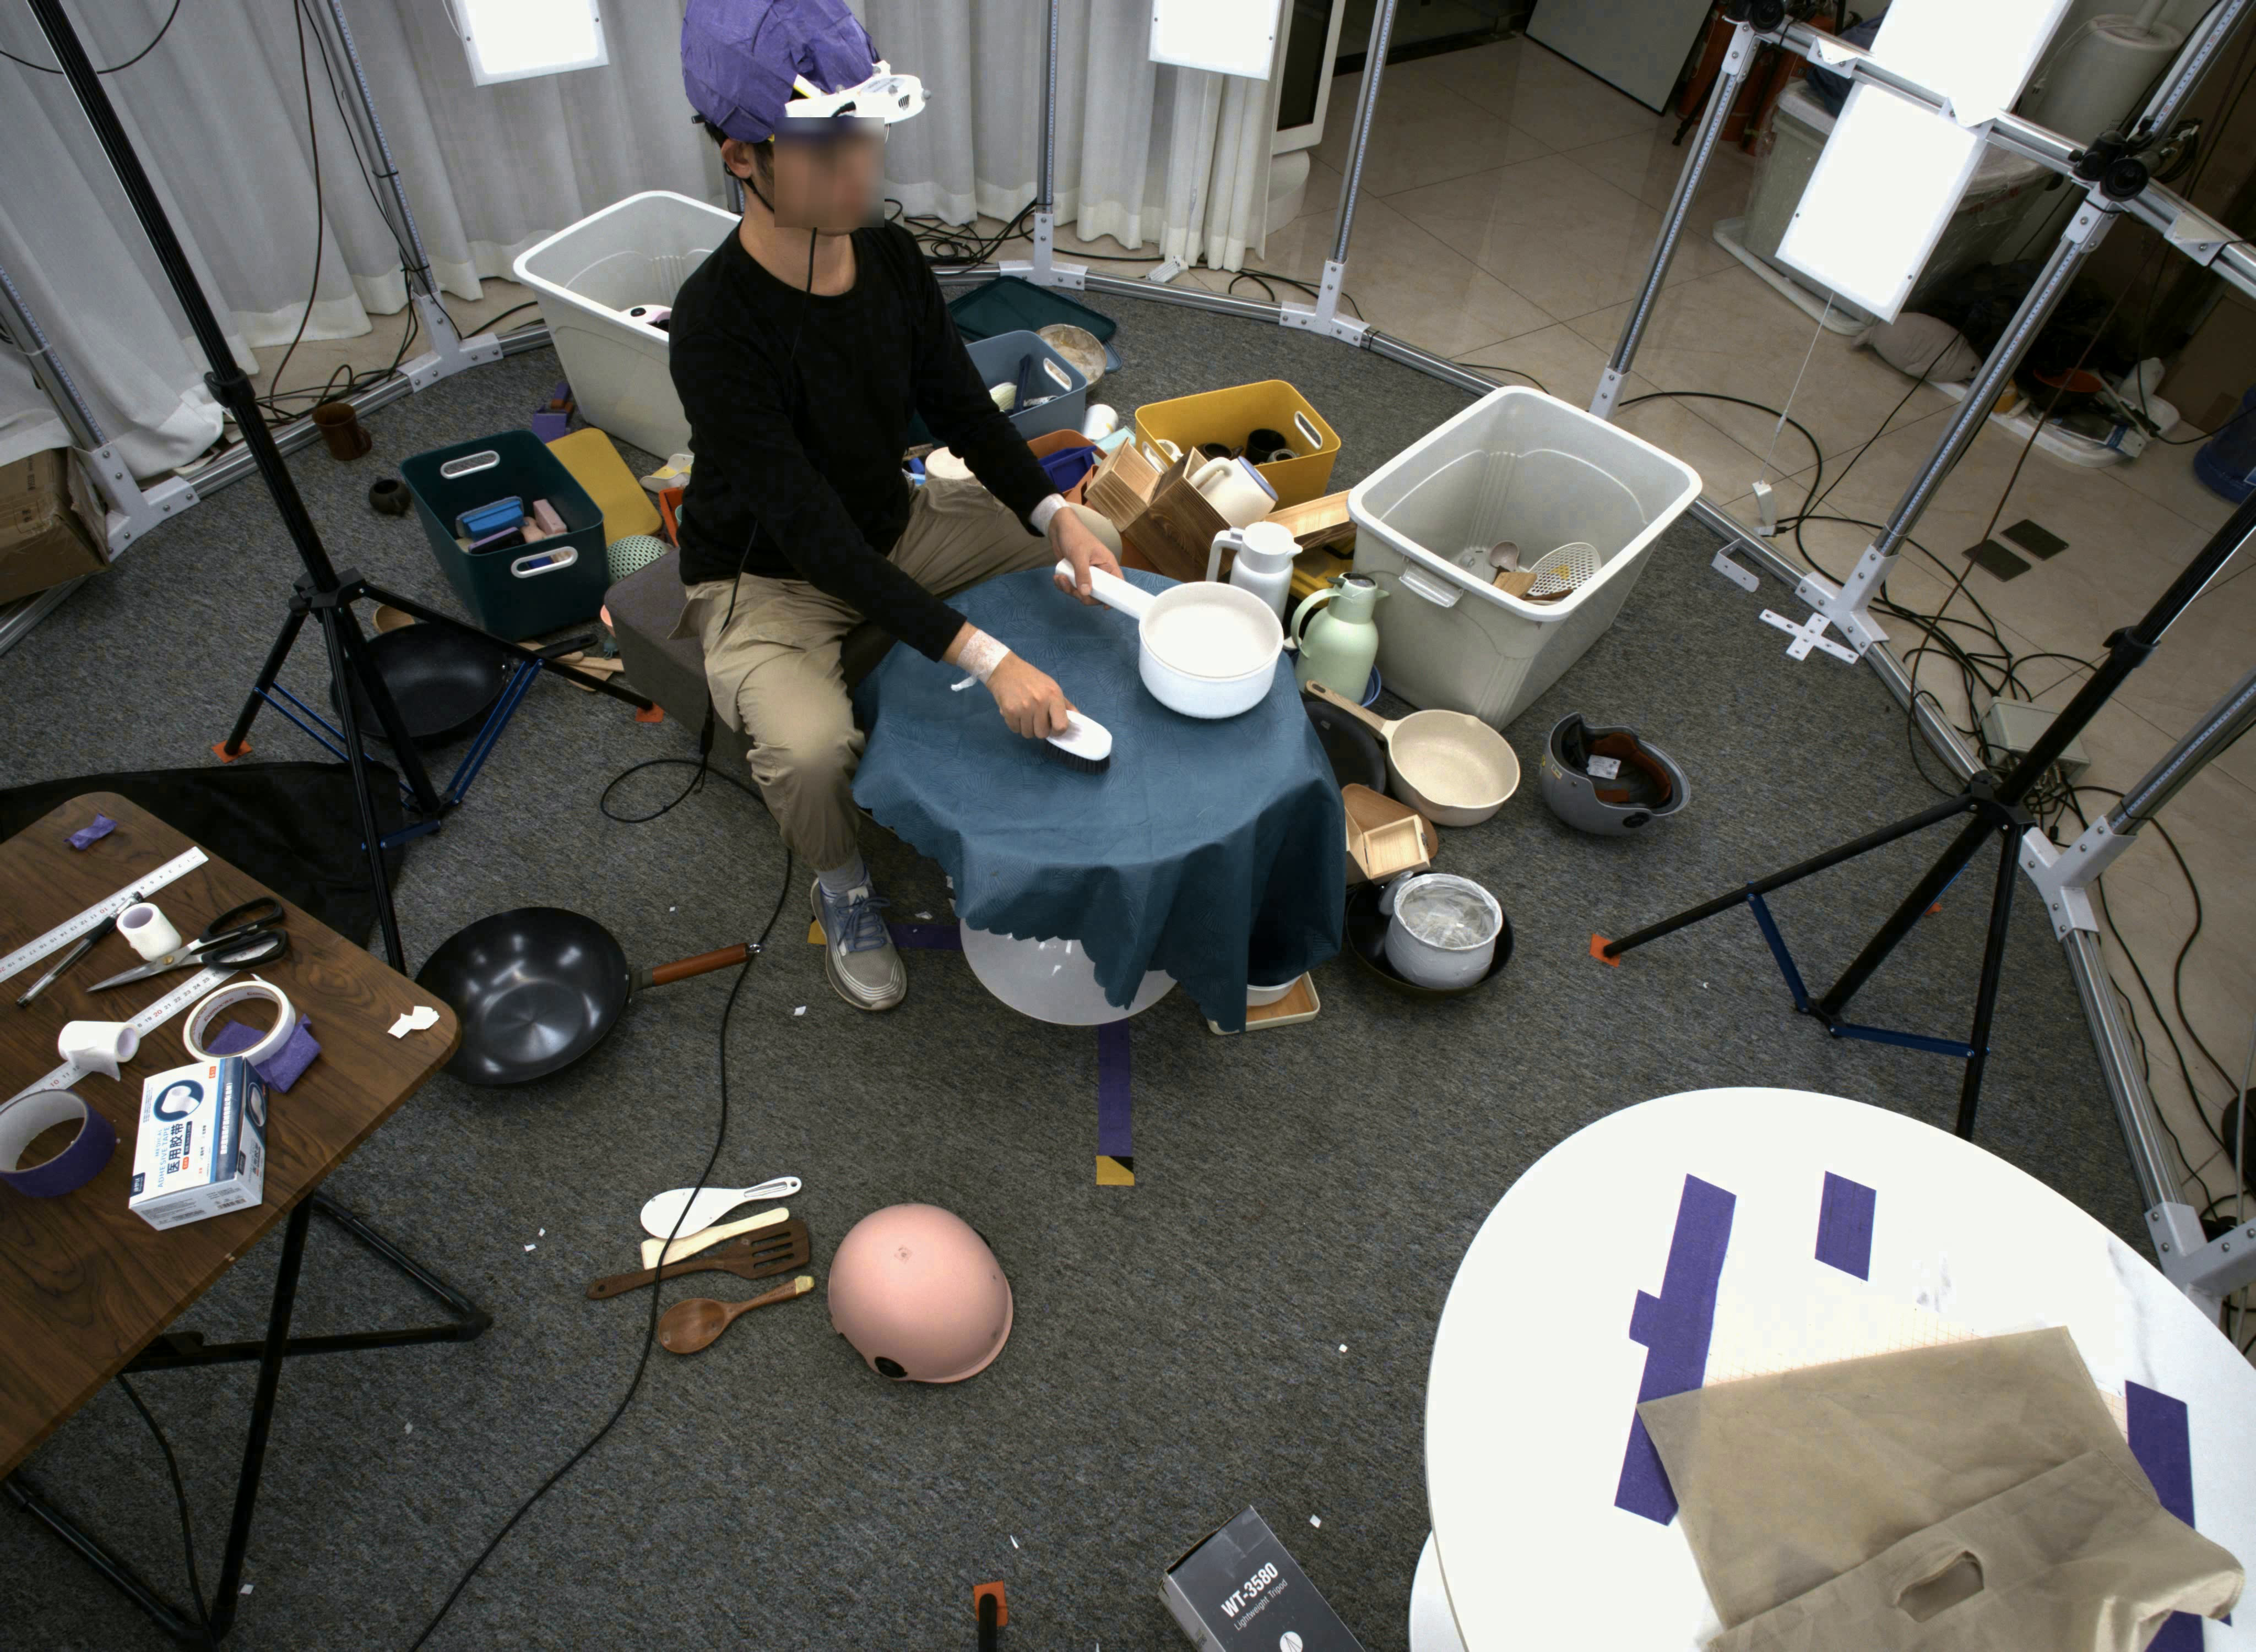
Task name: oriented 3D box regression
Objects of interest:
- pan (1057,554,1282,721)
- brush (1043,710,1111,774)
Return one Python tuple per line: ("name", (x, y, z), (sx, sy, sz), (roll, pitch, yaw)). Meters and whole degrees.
("pan", (0.050, -0.278, 1.854), (0.358, 0.099, 0.204), (29, 55, 20))
("brush", (-0.069, -0.121, 1.722), (0.100, 0.071, 0.051), (25, 55, 17))
